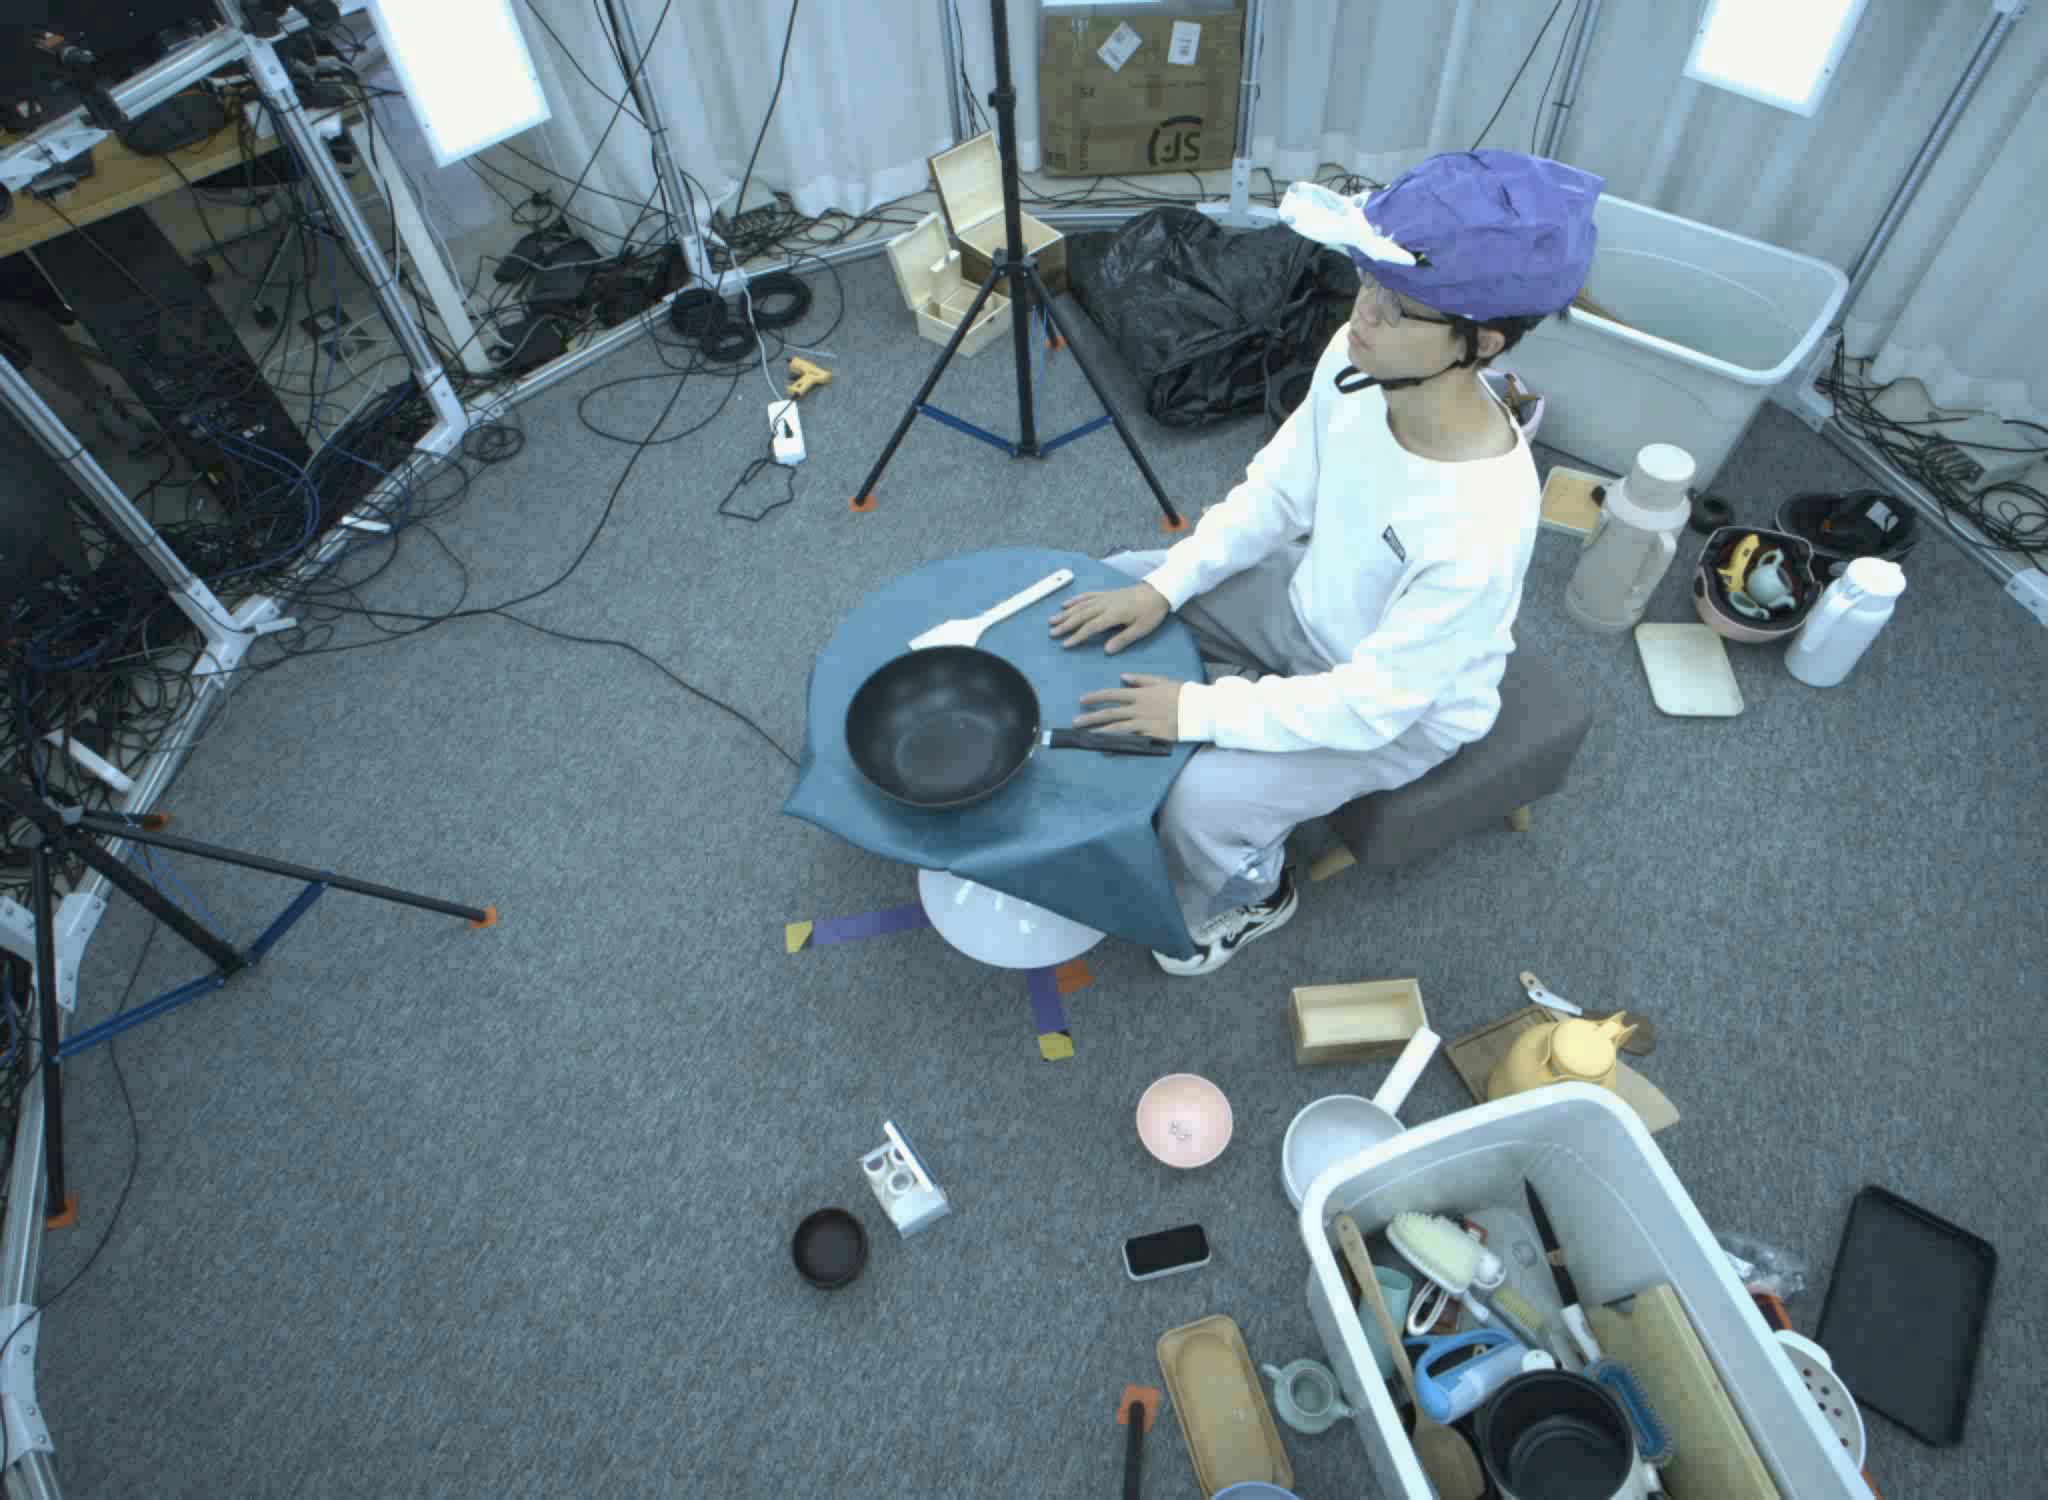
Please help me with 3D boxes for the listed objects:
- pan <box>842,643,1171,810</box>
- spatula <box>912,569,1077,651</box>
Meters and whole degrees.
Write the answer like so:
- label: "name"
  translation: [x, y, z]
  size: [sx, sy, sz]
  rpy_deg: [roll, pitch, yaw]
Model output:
- label: "pan"
  translation: [-0.025, -0.009, 1.741]
  size: [0.461, 0.088, 0.286]
  rpy_deg: [8, 56, 6]
- label: "spatula"
  translation: [-0.040, -0.216, 1.935]
  size: [0.295, 0.011, 0.071]
  rpy_deg: [-31, 58, -19]
